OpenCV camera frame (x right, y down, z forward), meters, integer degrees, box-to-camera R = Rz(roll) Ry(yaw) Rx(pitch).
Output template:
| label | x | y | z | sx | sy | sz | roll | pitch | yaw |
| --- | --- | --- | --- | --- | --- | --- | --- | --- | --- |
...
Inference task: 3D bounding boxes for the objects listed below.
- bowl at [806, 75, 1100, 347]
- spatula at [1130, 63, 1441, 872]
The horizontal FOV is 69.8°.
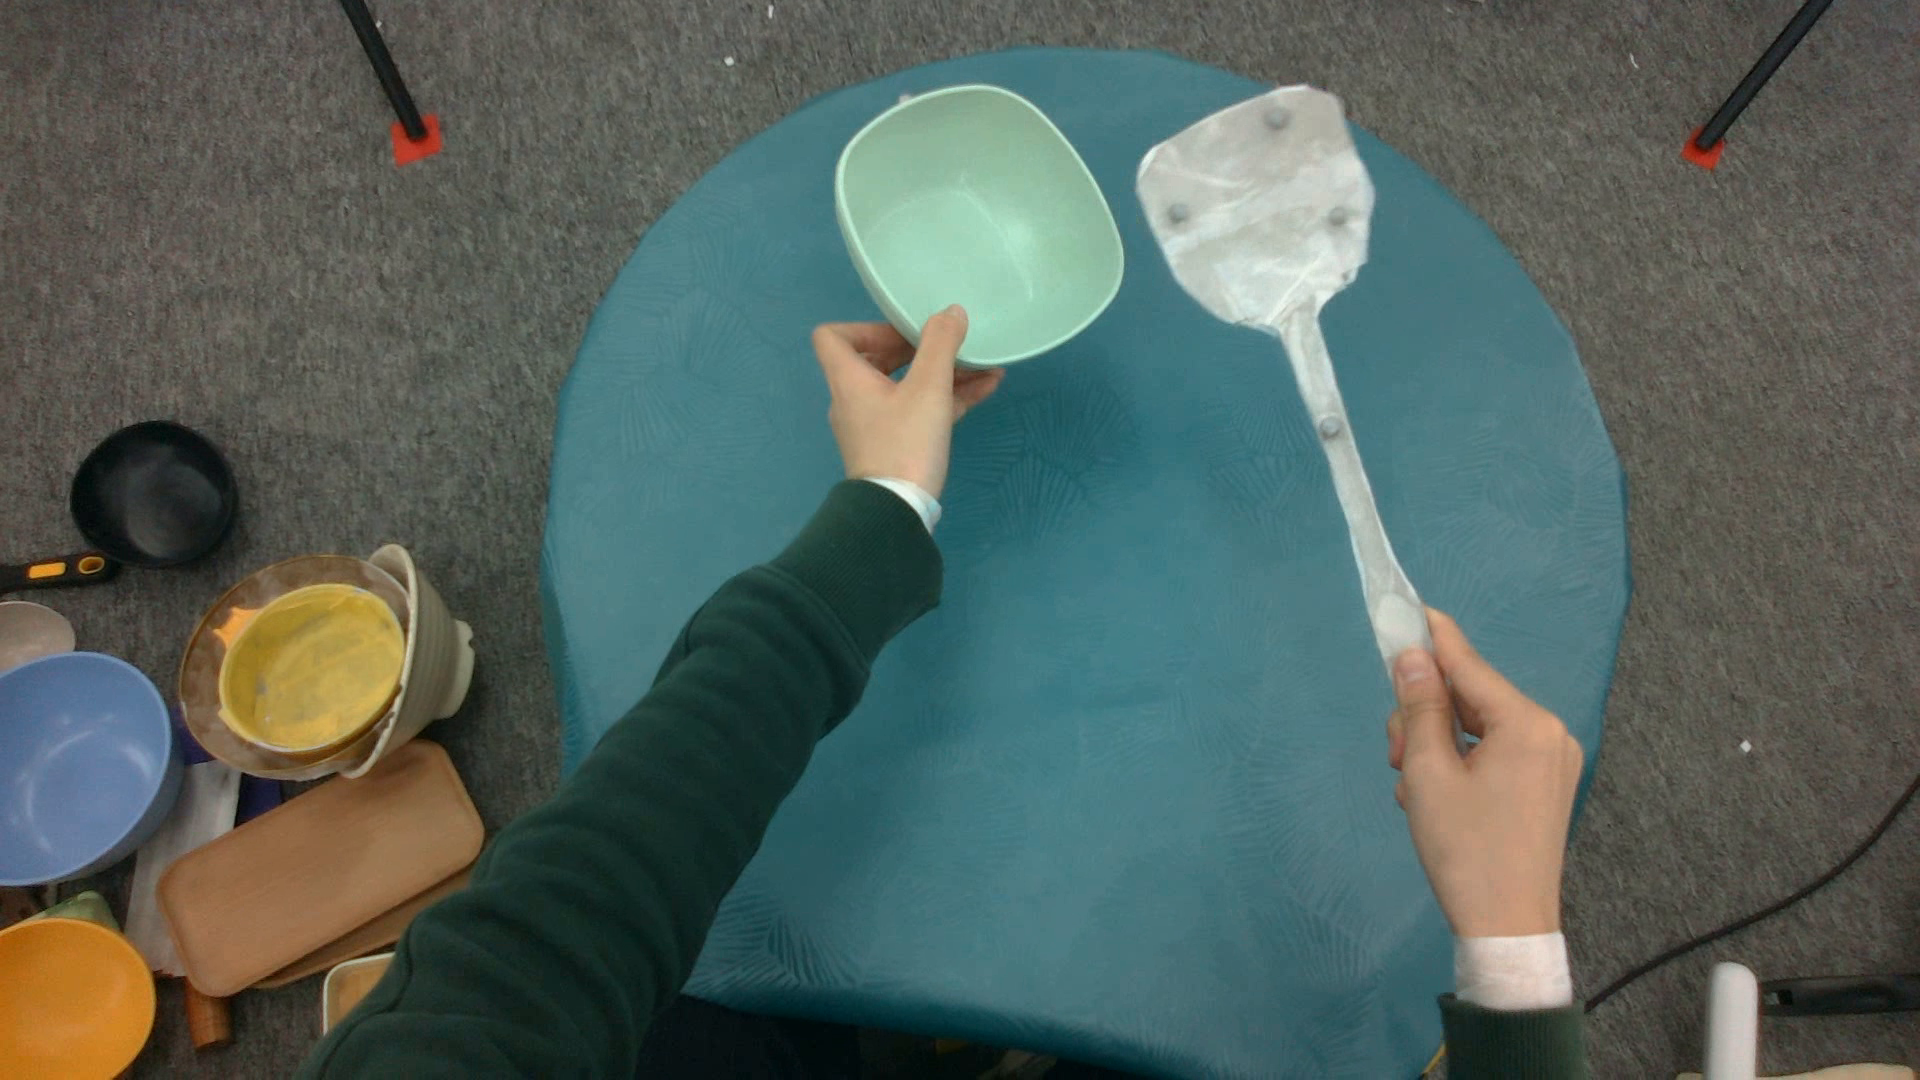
| label | x | y | z | sx | sy | sz | roll | pitch | yaw |
| --- | --- | --- | --- | --- | --- | --- | --- | --- | --- |
| bowl | -0.010 | -0.155 | 0.689 | 0.151 | 0.058 | 0.152 | 7 | 68 | -19 |
| spatula | 0.157 | -0.041 | 0.601 | 0.098 | 0.045 | 0.366 | -14 | 71 | 10 |
